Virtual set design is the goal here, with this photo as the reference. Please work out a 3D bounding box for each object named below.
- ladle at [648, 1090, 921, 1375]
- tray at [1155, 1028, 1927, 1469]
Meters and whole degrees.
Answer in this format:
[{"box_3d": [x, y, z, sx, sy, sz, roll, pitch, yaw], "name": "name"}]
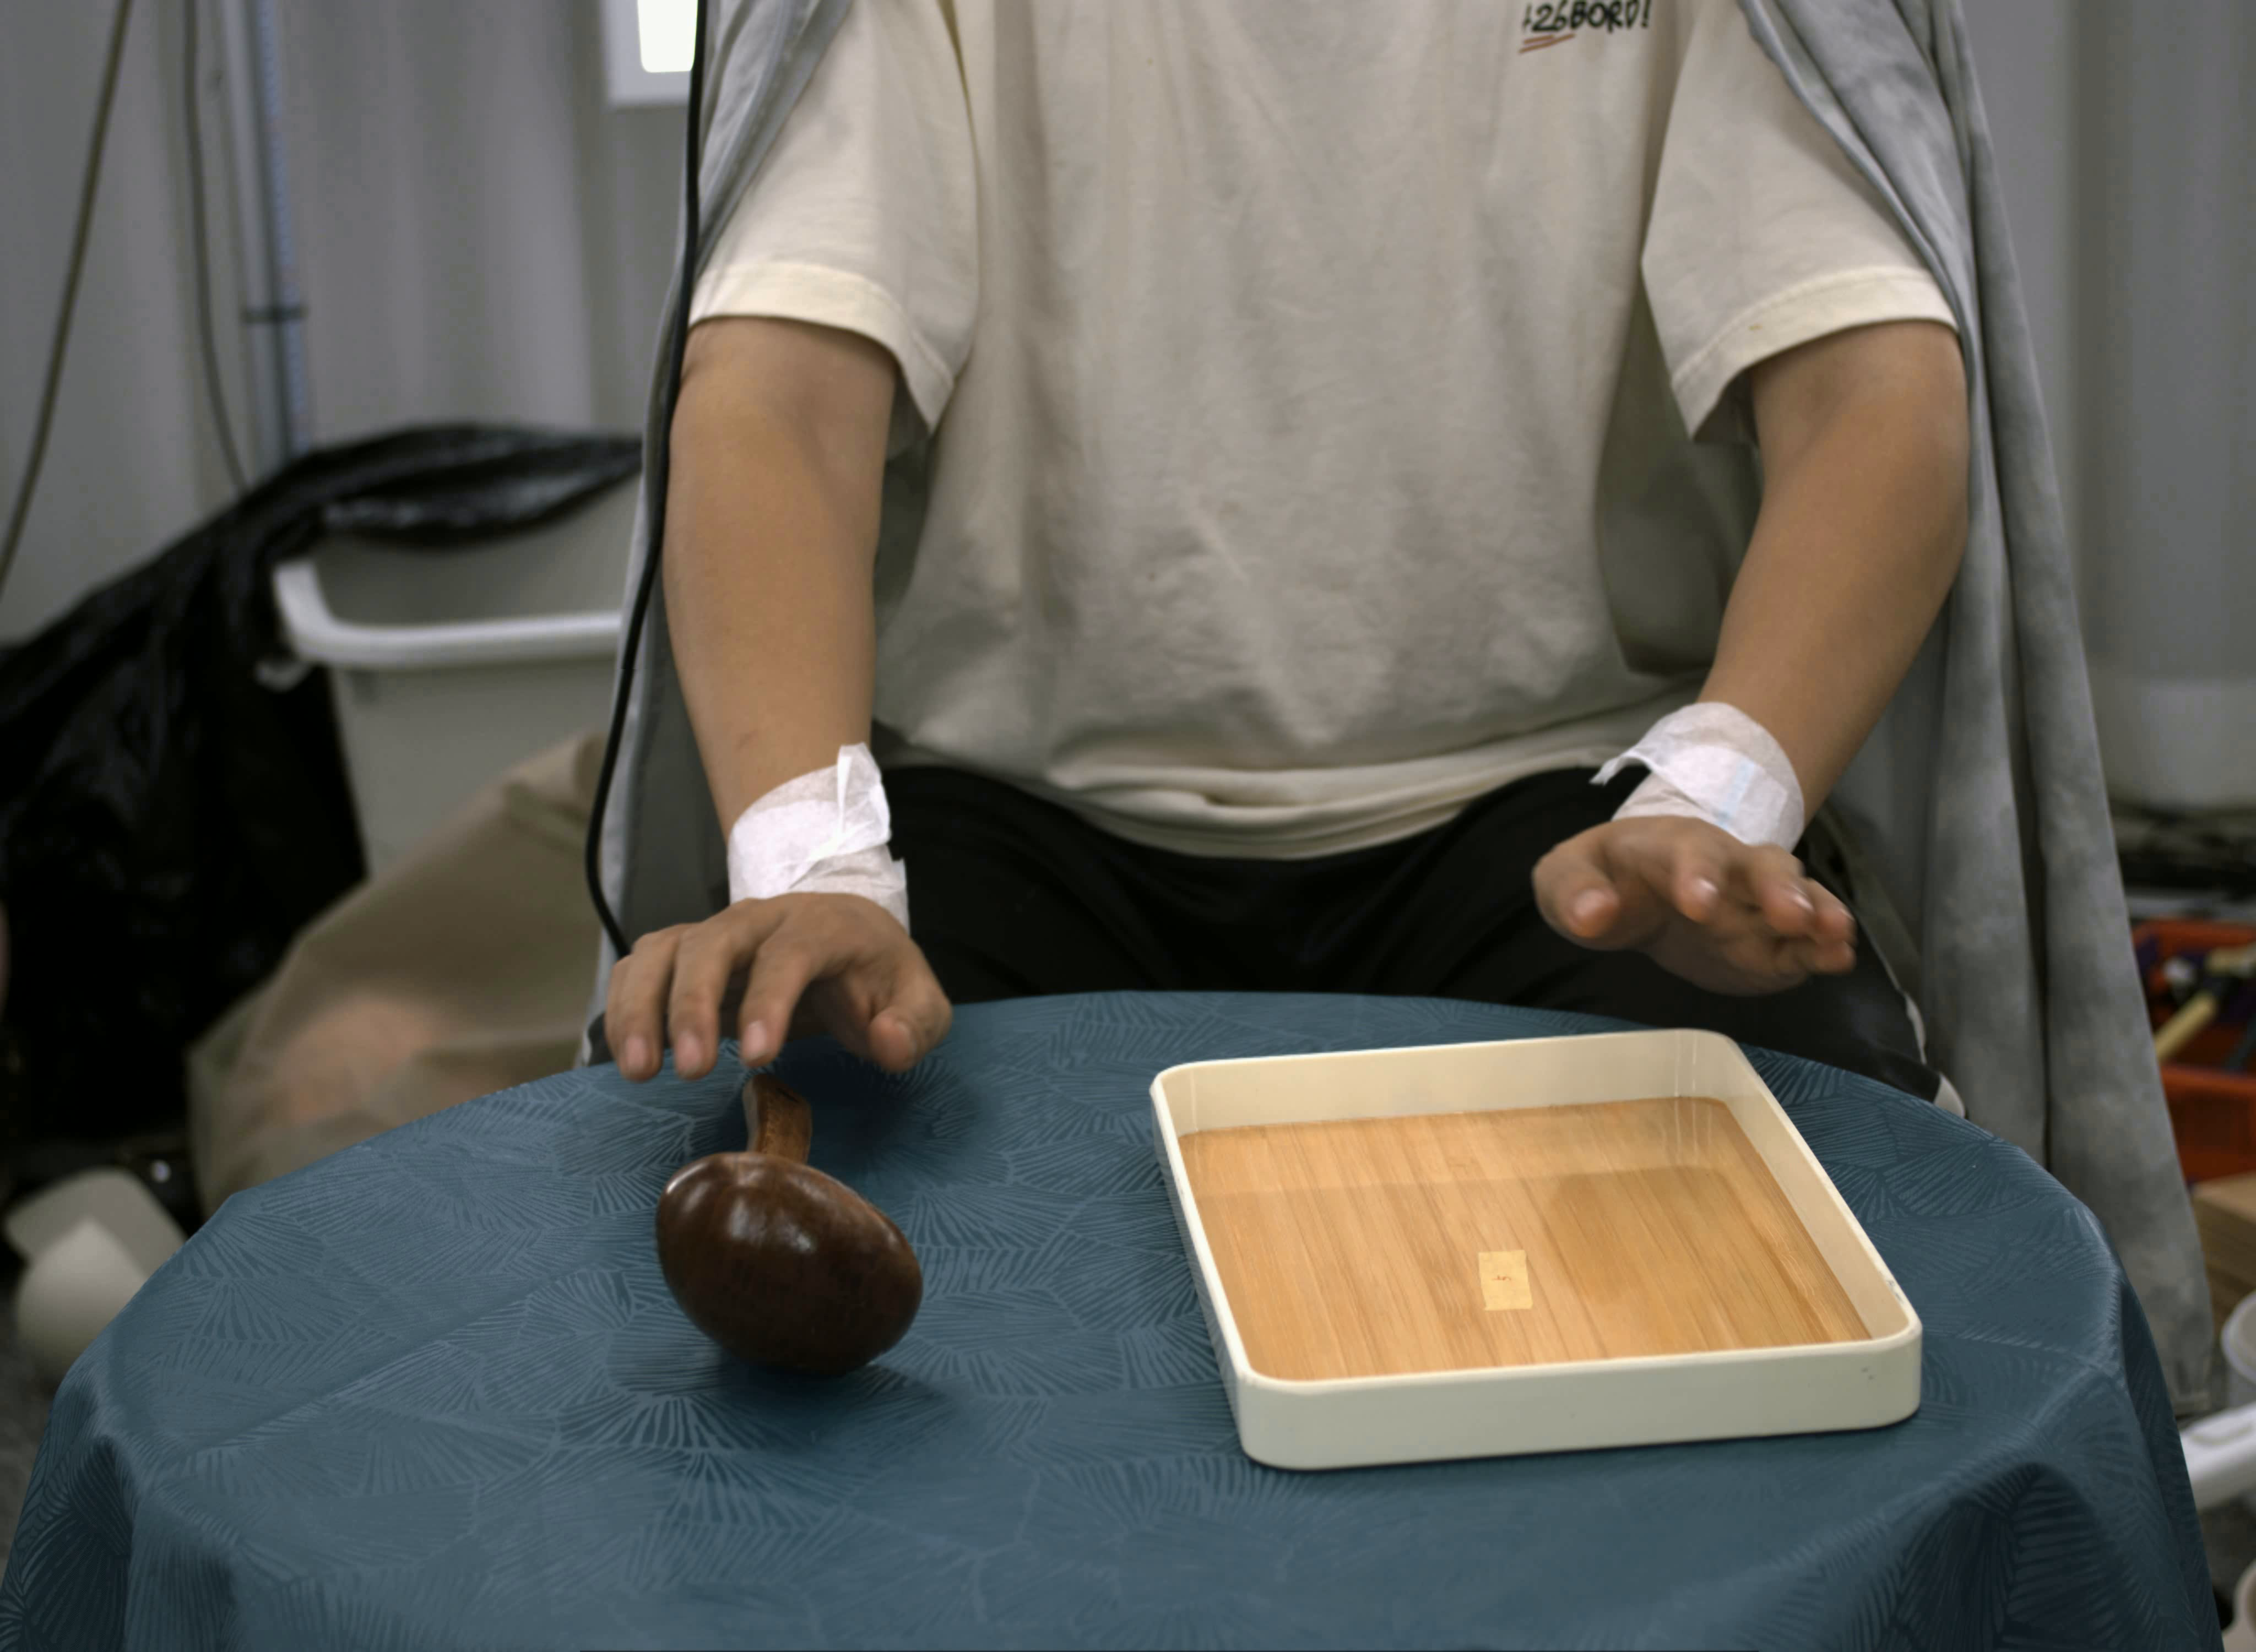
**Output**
[{"box_3d": [-0.098, 0.100, 1.659, 0.081, 0.076, 0.276, 36, 12, -7], "name": "ladle"}, {"box_3d": [0.114, 0.121, 1.623, 0.191, 0.027, 0.302, -4, 15, -4], "name": "tray"}]
